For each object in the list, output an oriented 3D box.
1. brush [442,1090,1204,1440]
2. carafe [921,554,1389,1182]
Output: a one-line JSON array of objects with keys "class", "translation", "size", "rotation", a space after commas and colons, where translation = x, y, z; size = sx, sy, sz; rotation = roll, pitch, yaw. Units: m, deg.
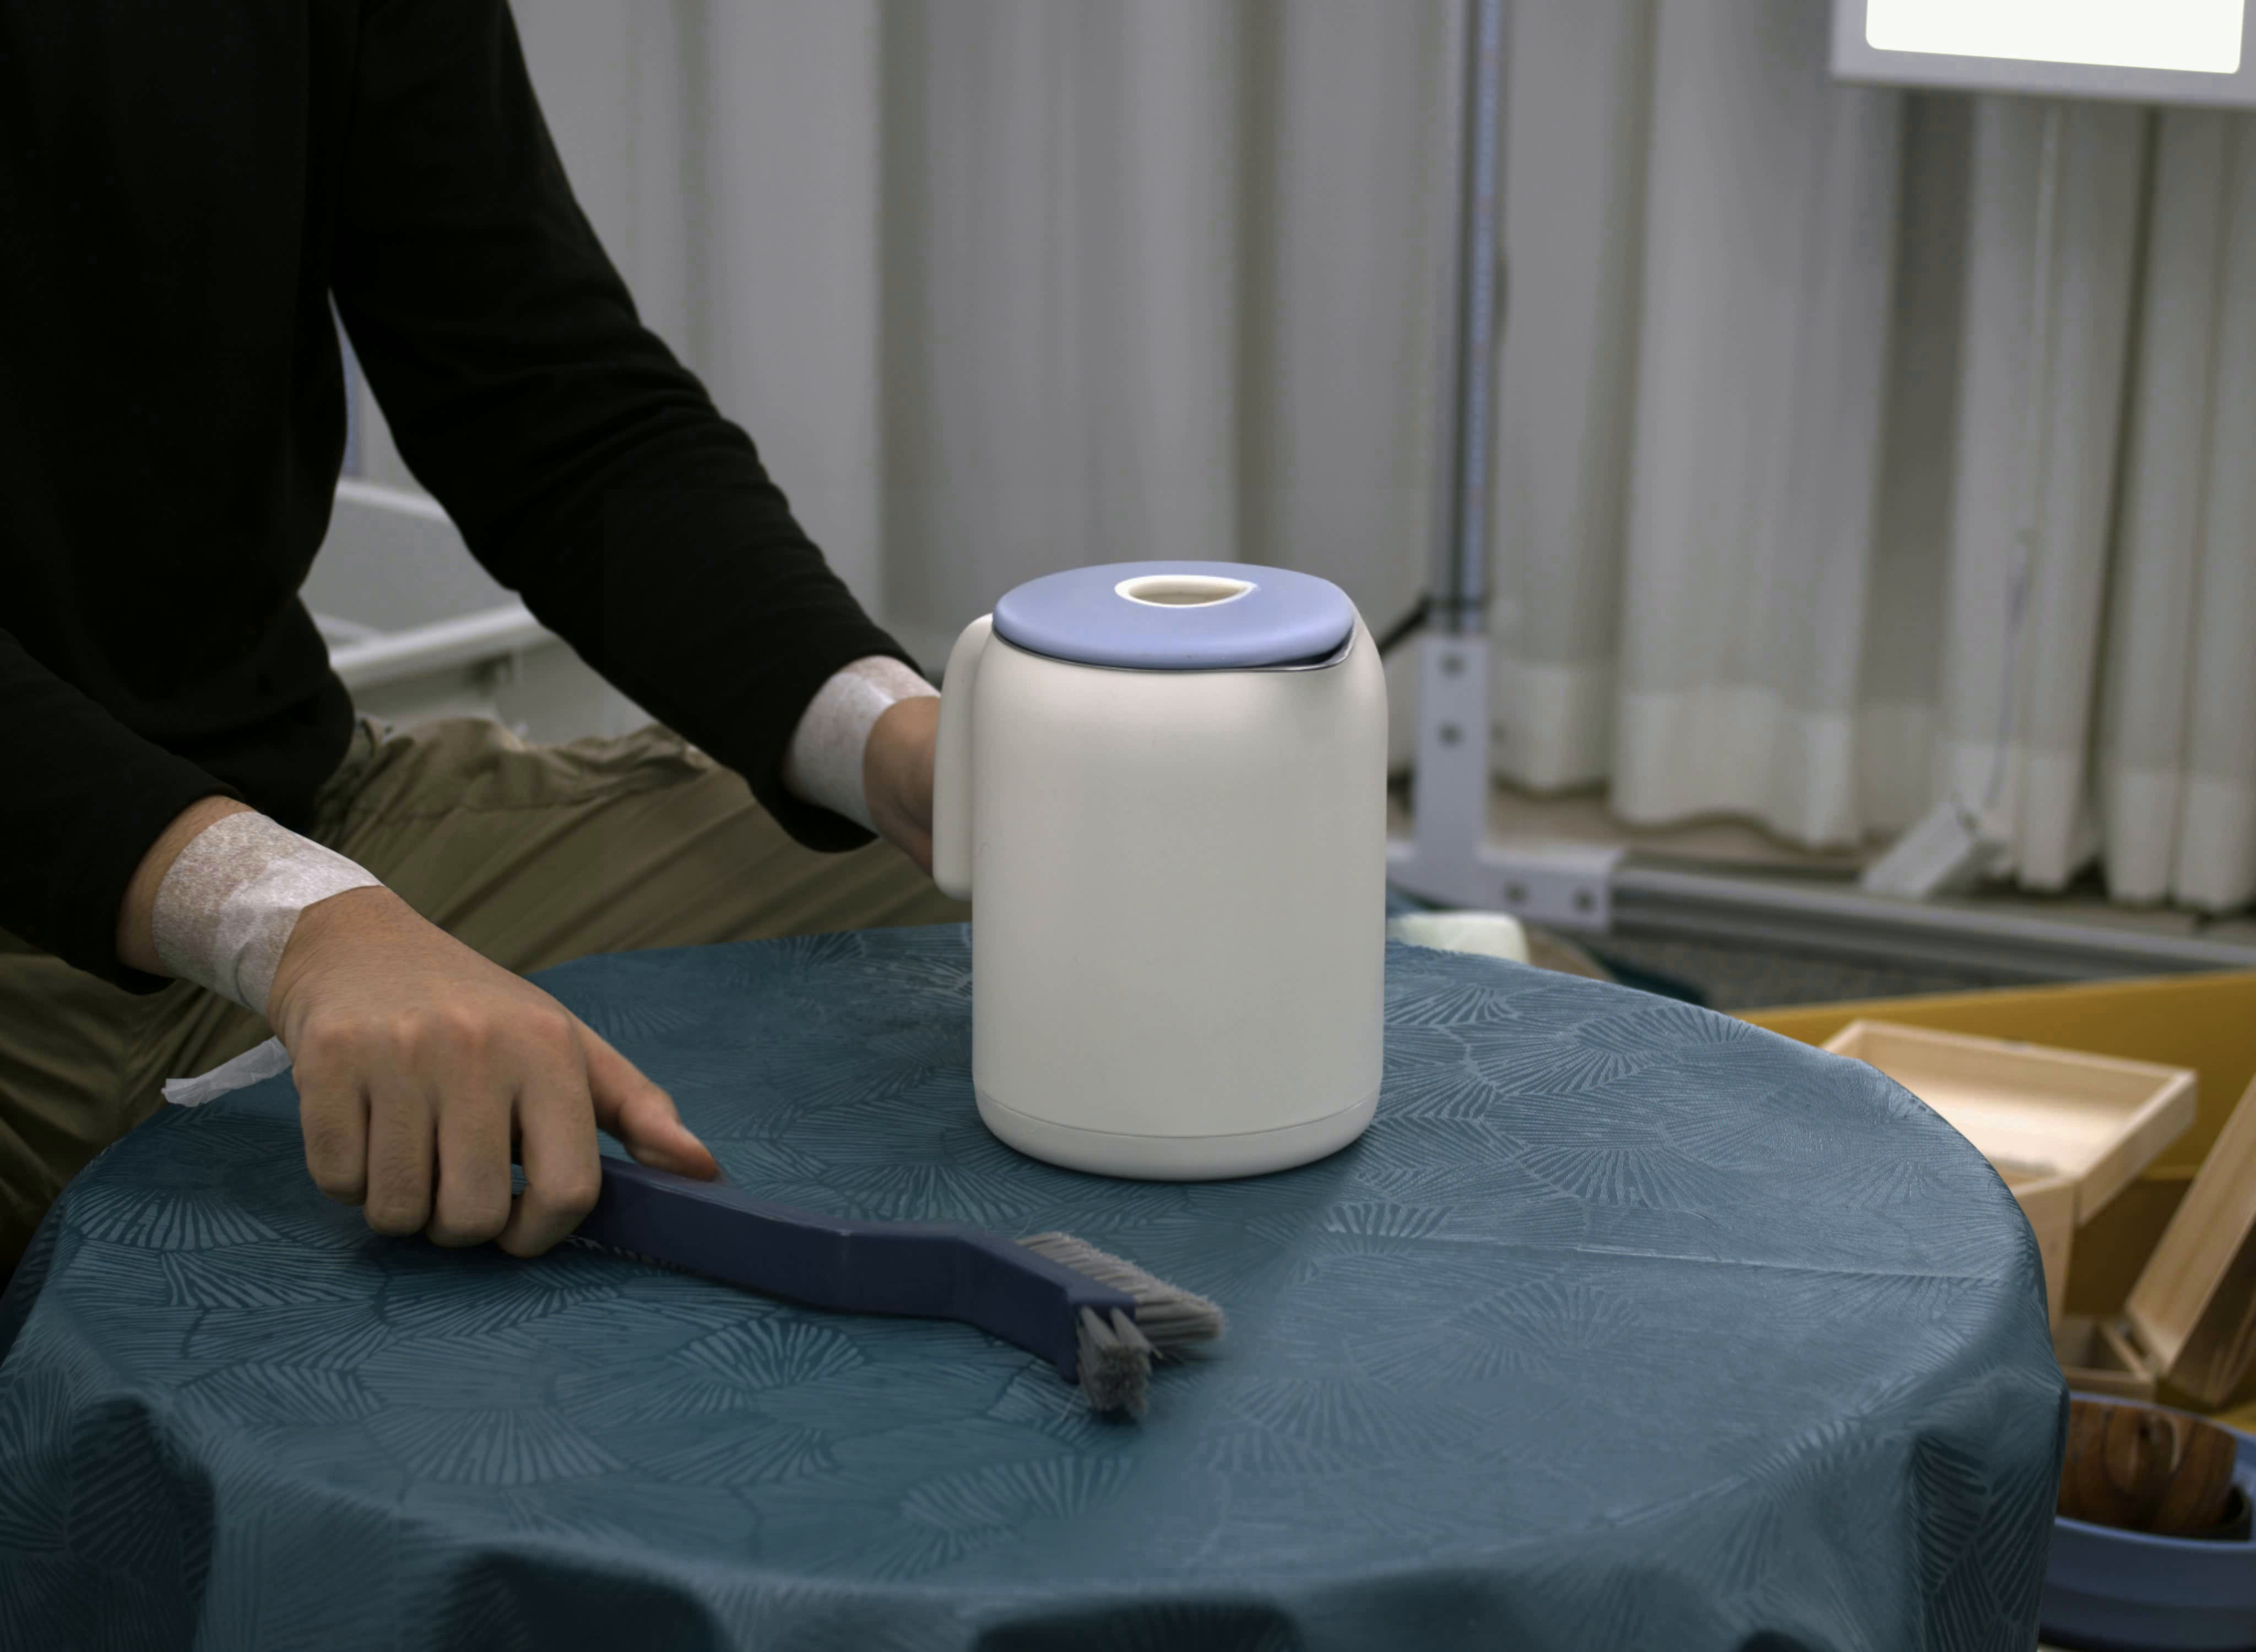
[{"class": "brush", "translation": [-0.104, 0.123, 1.522], "size": [0.270, 0.034, 0.096], "rotation": [9, 20, 27]}, {"class": "carafe", "translation": [0.000, 0.007, 1.677], "size": [0.133, 0.184, 0.188], "rotation": [-13, 20, -41]}]
